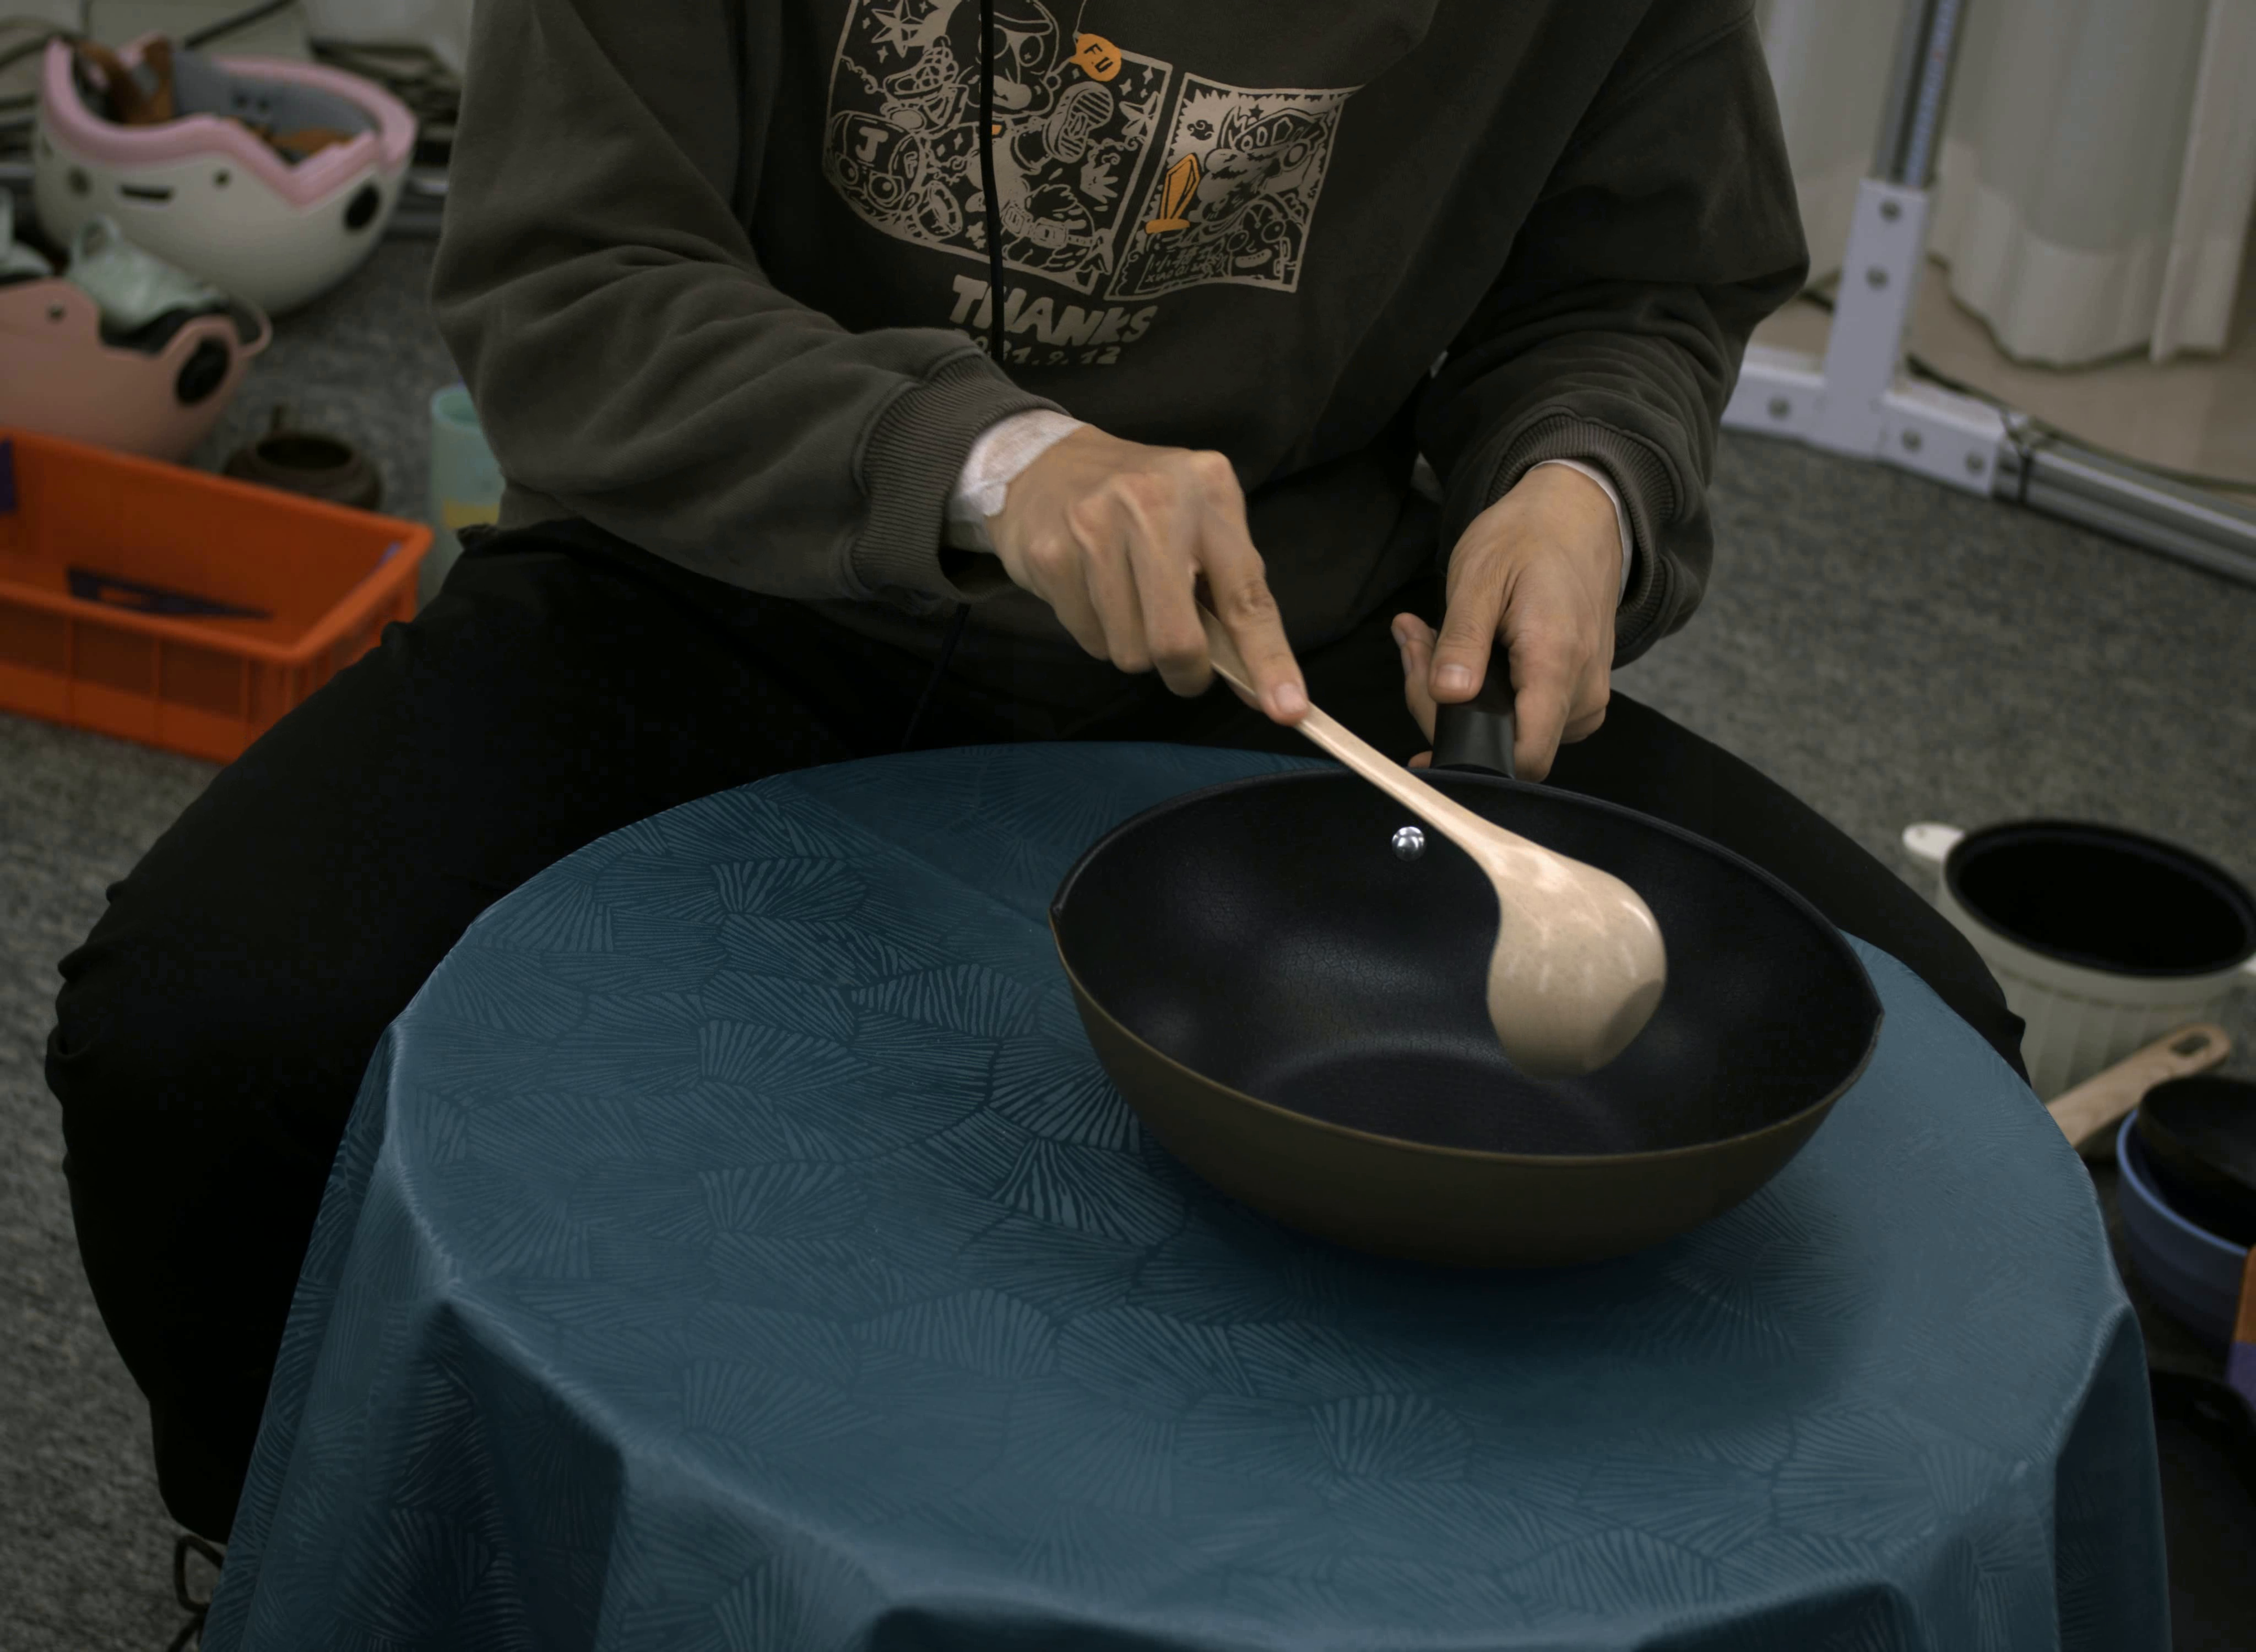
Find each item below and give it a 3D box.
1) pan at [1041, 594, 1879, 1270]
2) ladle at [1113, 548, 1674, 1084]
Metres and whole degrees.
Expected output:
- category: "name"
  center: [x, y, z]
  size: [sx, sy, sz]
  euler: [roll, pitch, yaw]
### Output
- category: "pan"
  center: [0.116, 0.038, 1.909]
  size: [0.287, 0.086, 0.465]
  euler: [7, 25, 2]
- category: "ladle"
  center: [0.083, -0.003, 1.842]
  size: [0.072, 0.072, 0.256]
  euler: [-34, 56, -27]
